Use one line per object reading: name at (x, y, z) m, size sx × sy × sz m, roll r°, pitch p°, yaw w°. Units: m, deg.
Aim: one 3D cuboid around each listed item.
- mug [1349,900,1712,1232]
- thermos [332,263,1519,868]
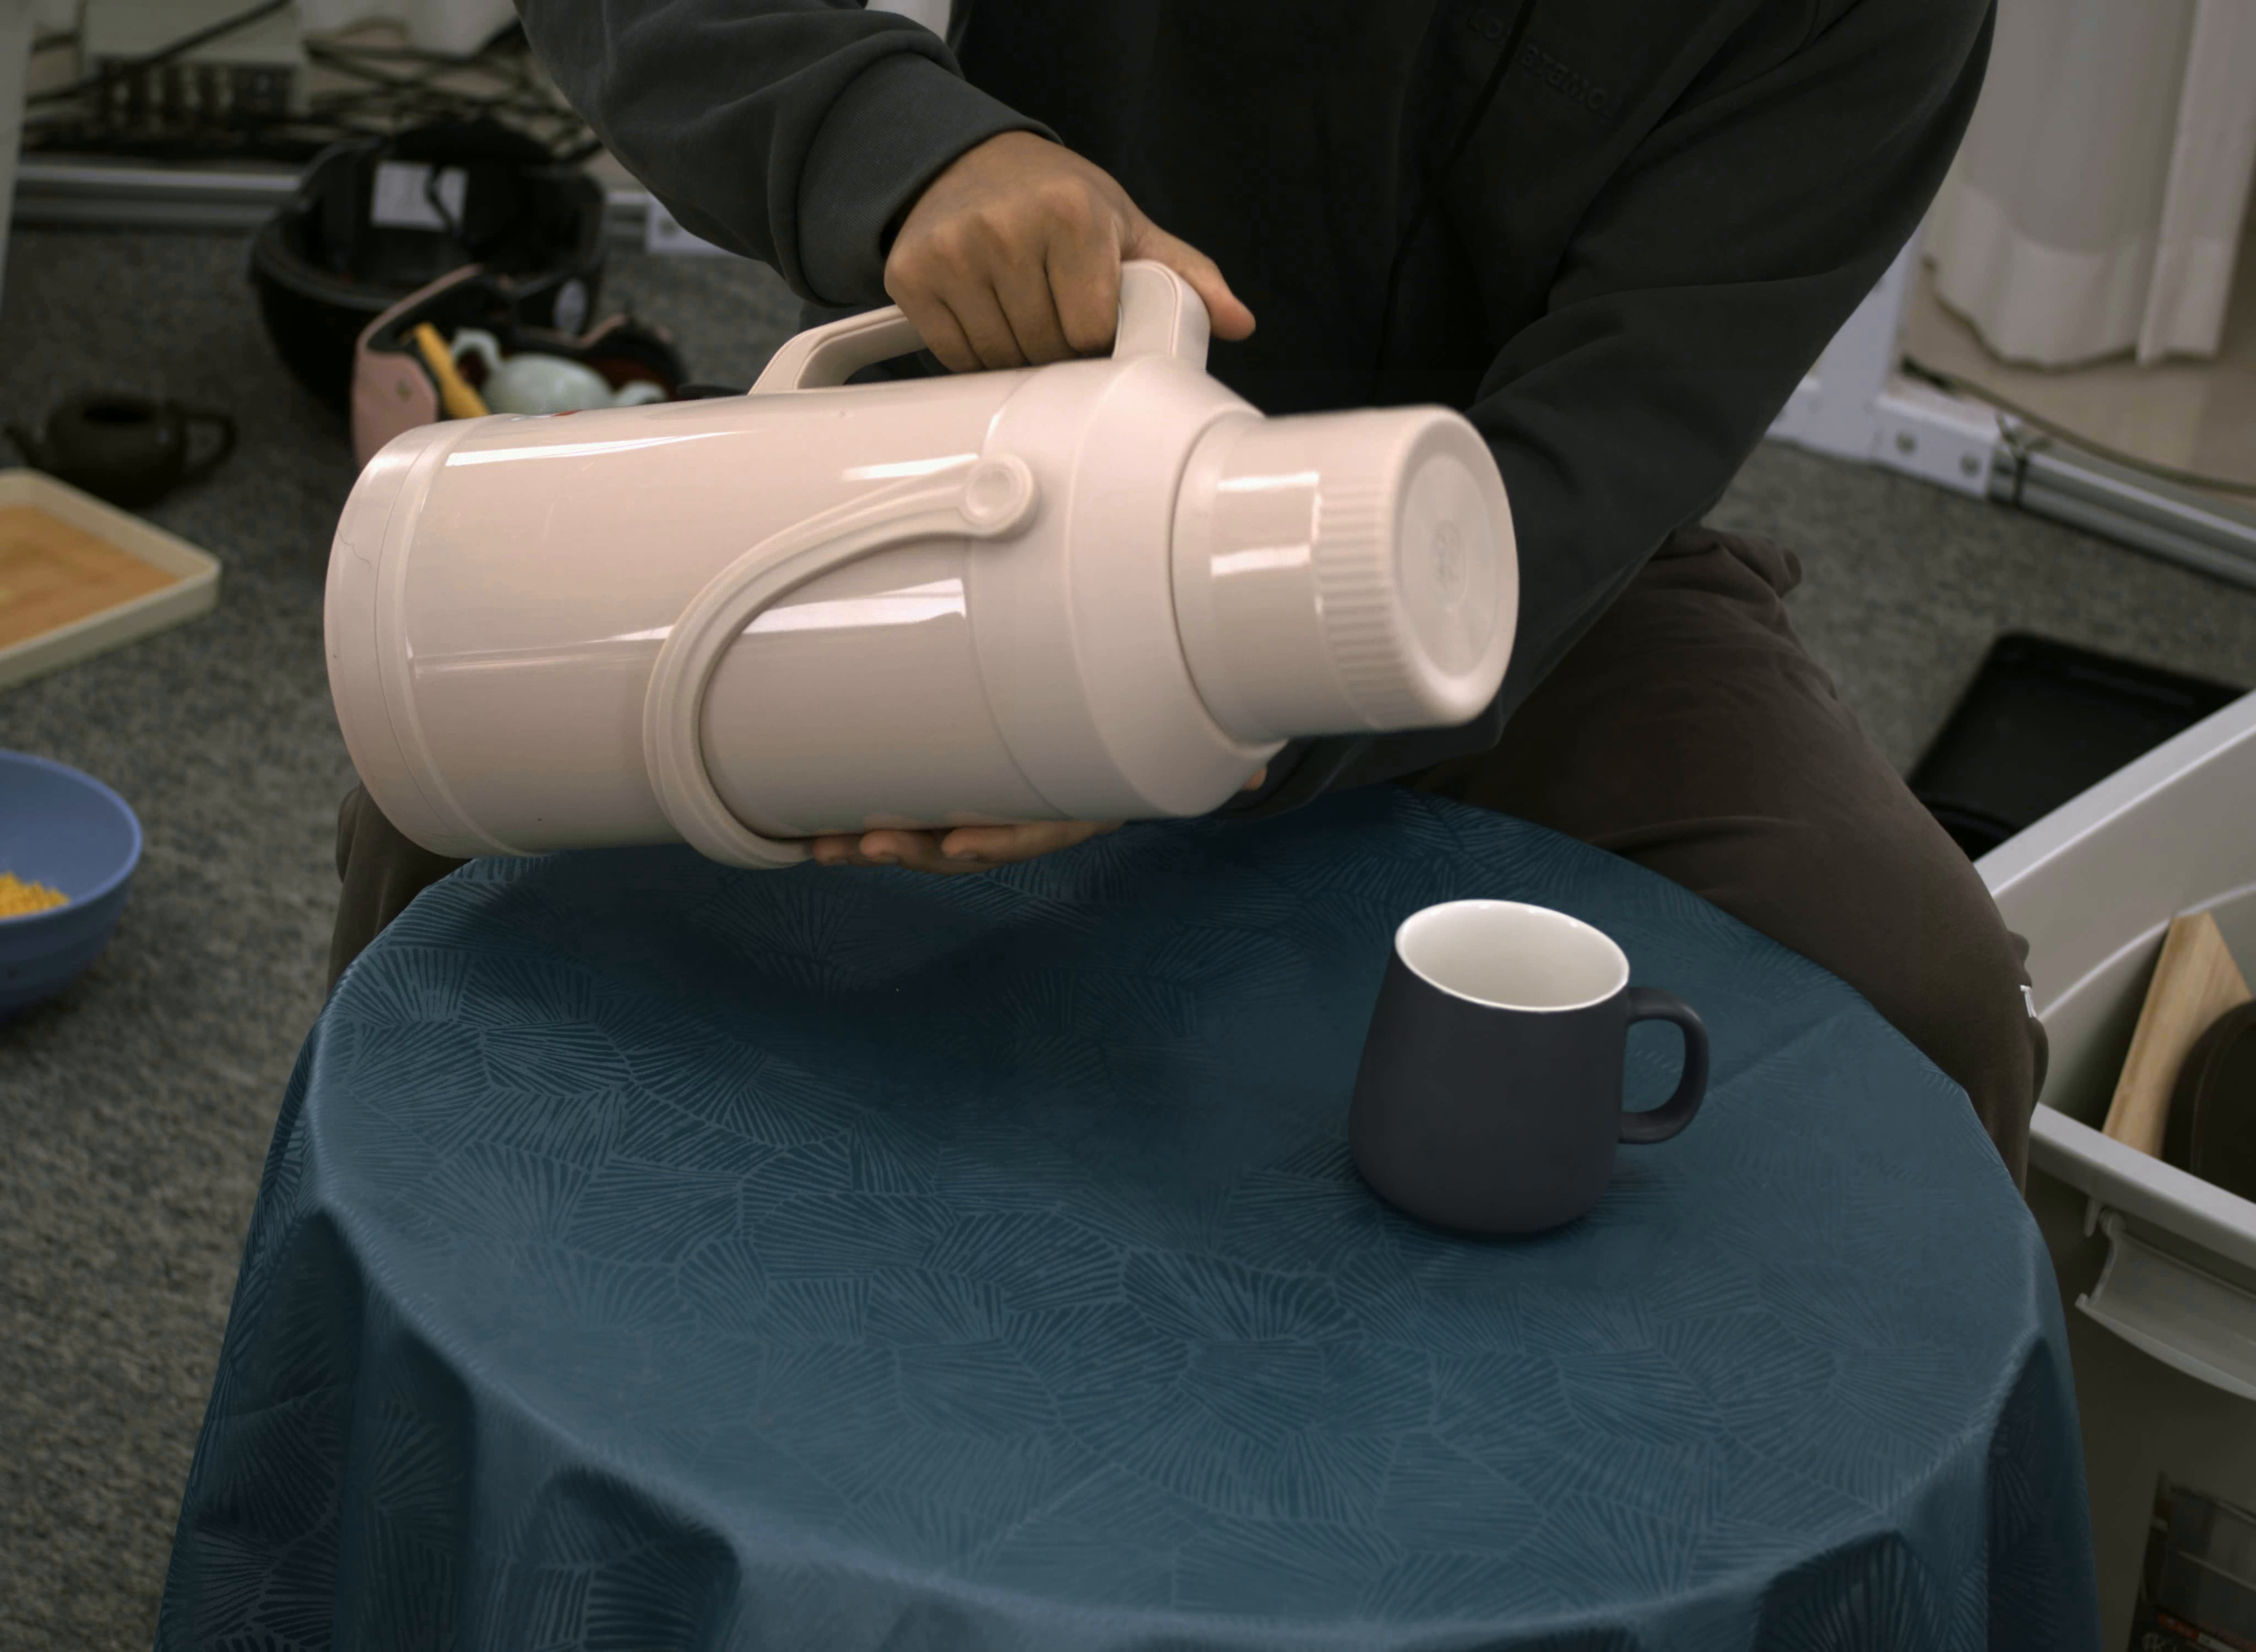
mug at (0.140, 0.083, 1.820) m, size 0.122 × 0.089 × 0.094 m, roll 2°, pitch 27°, yaw -10°
thermos at (-0.067, -0.089, 1.841) m, size 0.407 × 0.208 × 0.174 m, roll -3°, pitch -20°, yaw 29°
